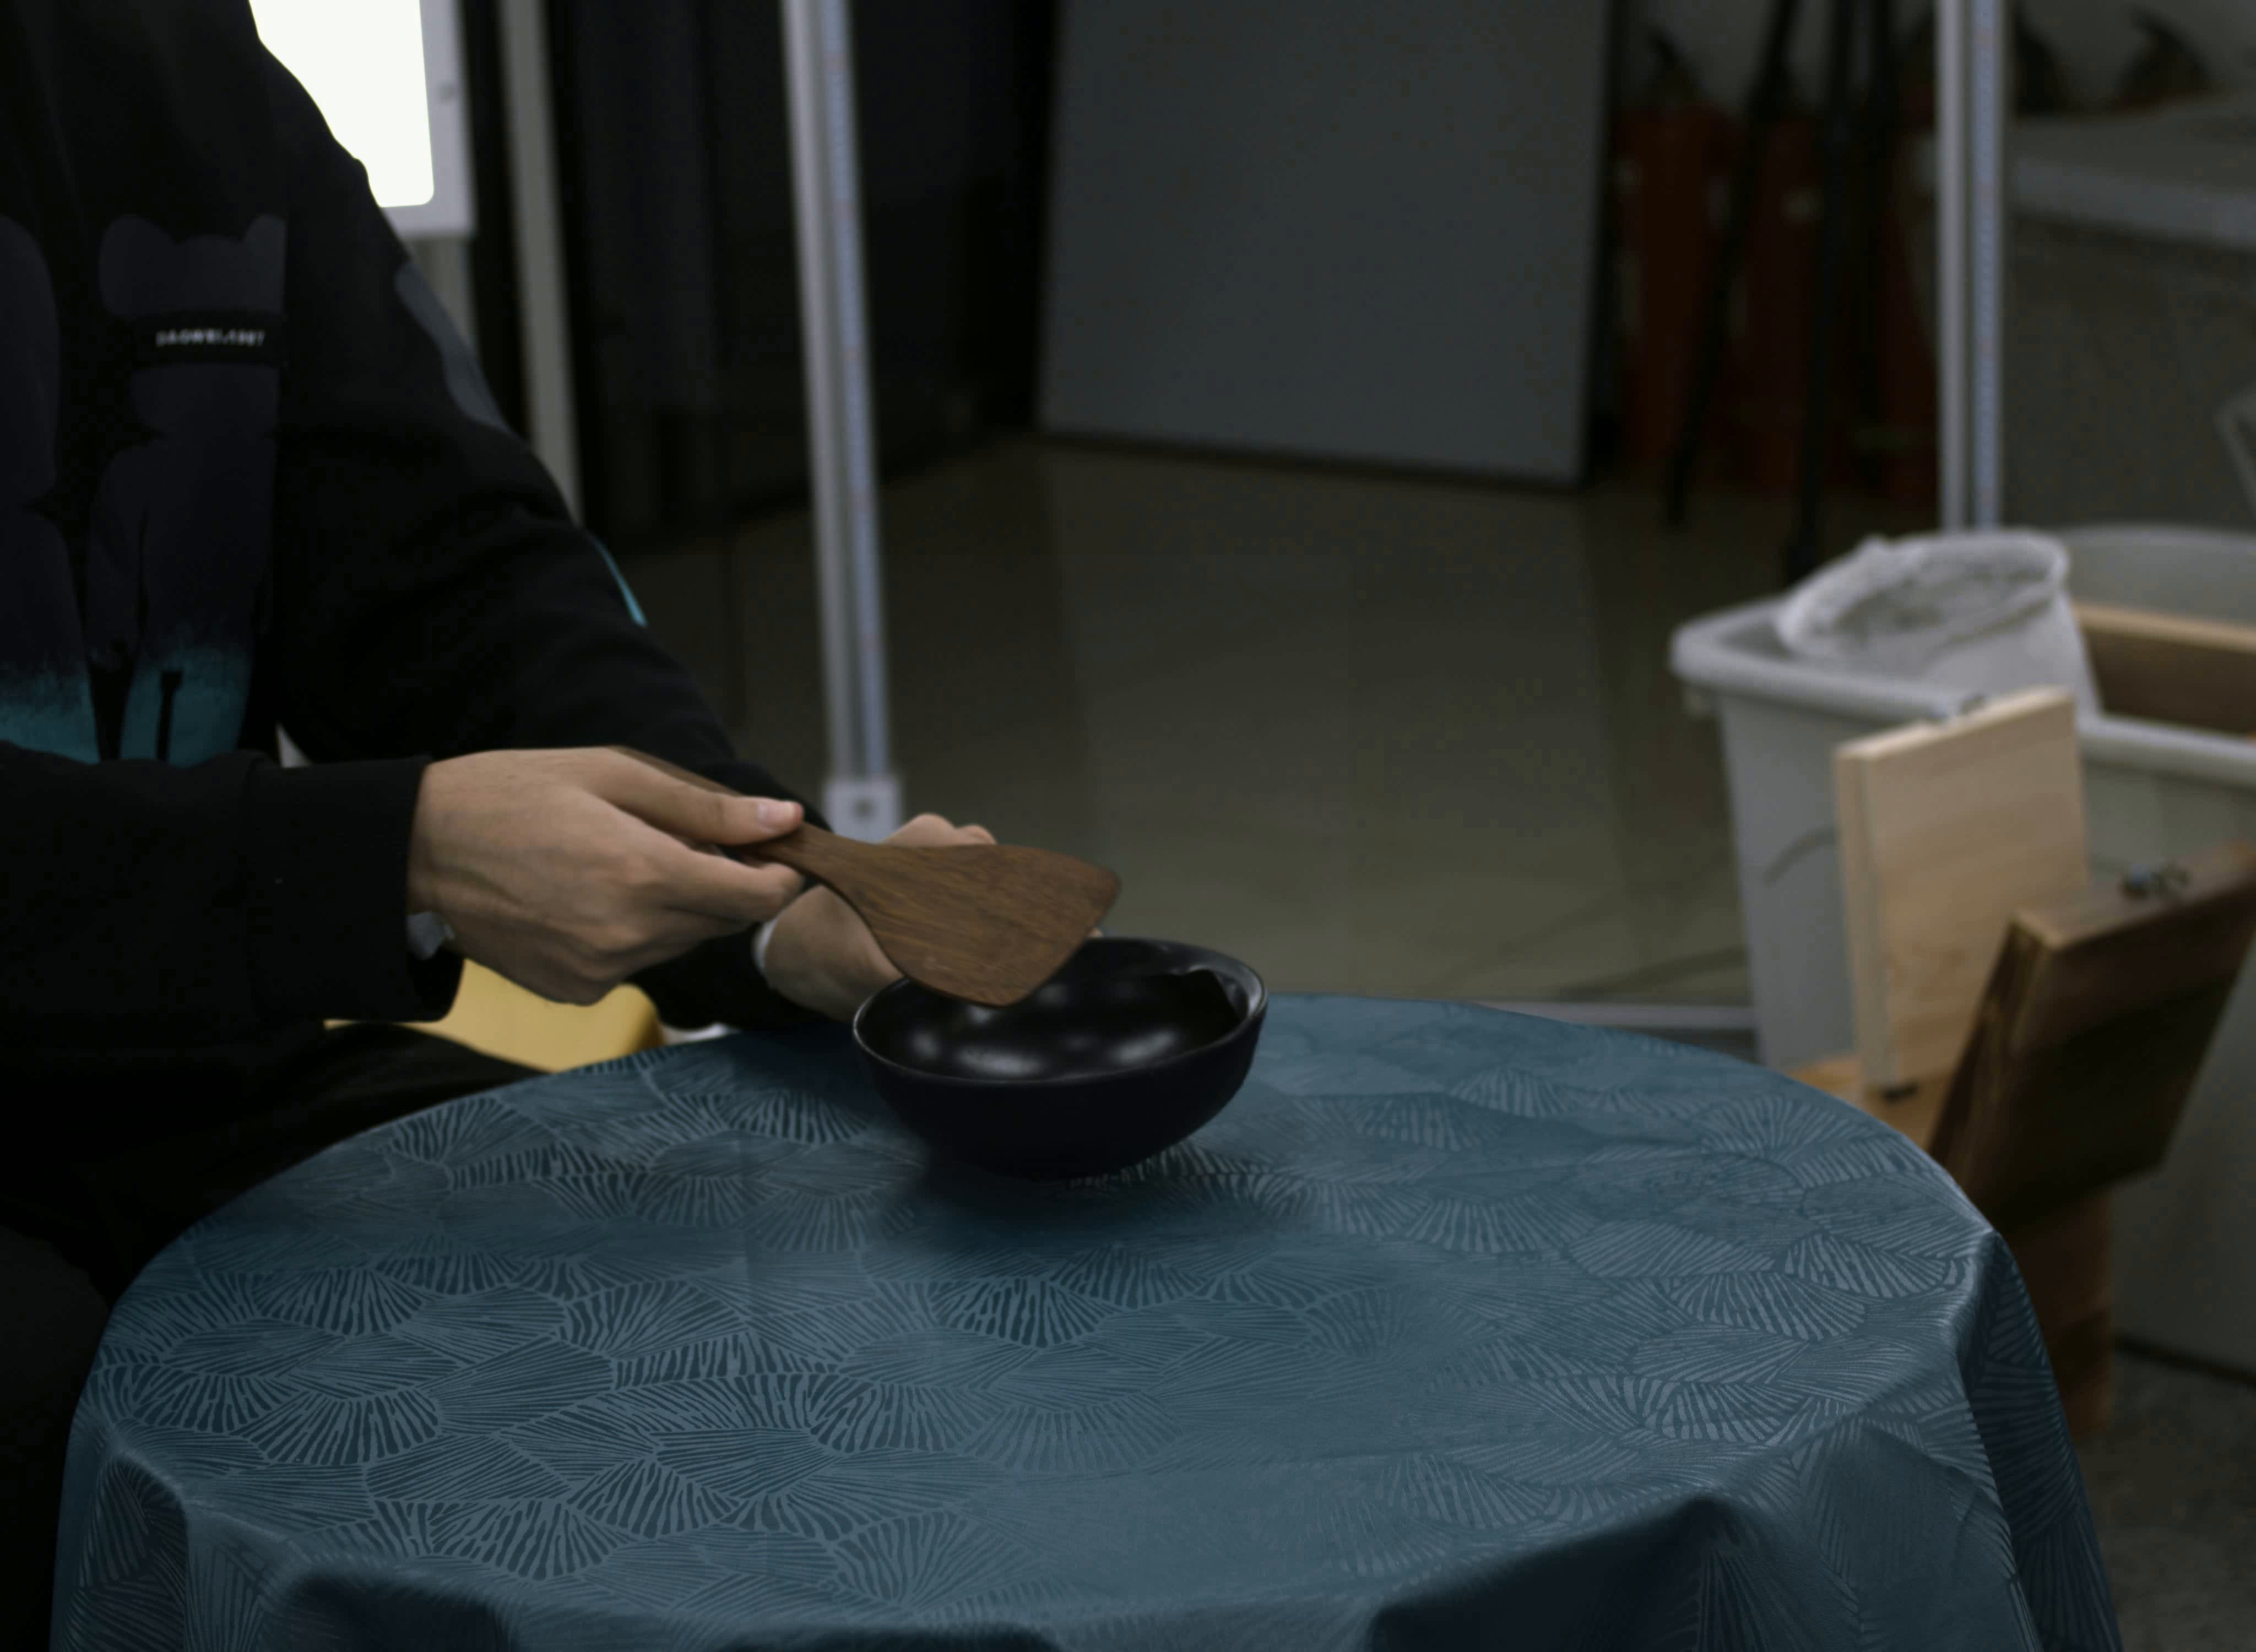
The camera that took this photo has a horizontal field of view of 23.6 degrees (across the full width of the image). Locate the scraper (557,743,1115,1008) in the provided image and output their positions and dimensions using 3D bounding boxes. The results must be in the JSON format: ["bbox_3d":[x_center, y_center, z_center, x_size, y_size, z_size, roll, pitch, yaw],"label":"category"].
[{"bbox_3d":[-0.103,0.010,1.797,0.212,0.011,0.075,19,49,30],"label":"scraper"}]

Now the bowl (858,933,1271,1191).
[{"bbox_3d":[-0.018,0.083,1.782,0.138,0.050,0.140,-8,19,2],"label":"bowl"}]
